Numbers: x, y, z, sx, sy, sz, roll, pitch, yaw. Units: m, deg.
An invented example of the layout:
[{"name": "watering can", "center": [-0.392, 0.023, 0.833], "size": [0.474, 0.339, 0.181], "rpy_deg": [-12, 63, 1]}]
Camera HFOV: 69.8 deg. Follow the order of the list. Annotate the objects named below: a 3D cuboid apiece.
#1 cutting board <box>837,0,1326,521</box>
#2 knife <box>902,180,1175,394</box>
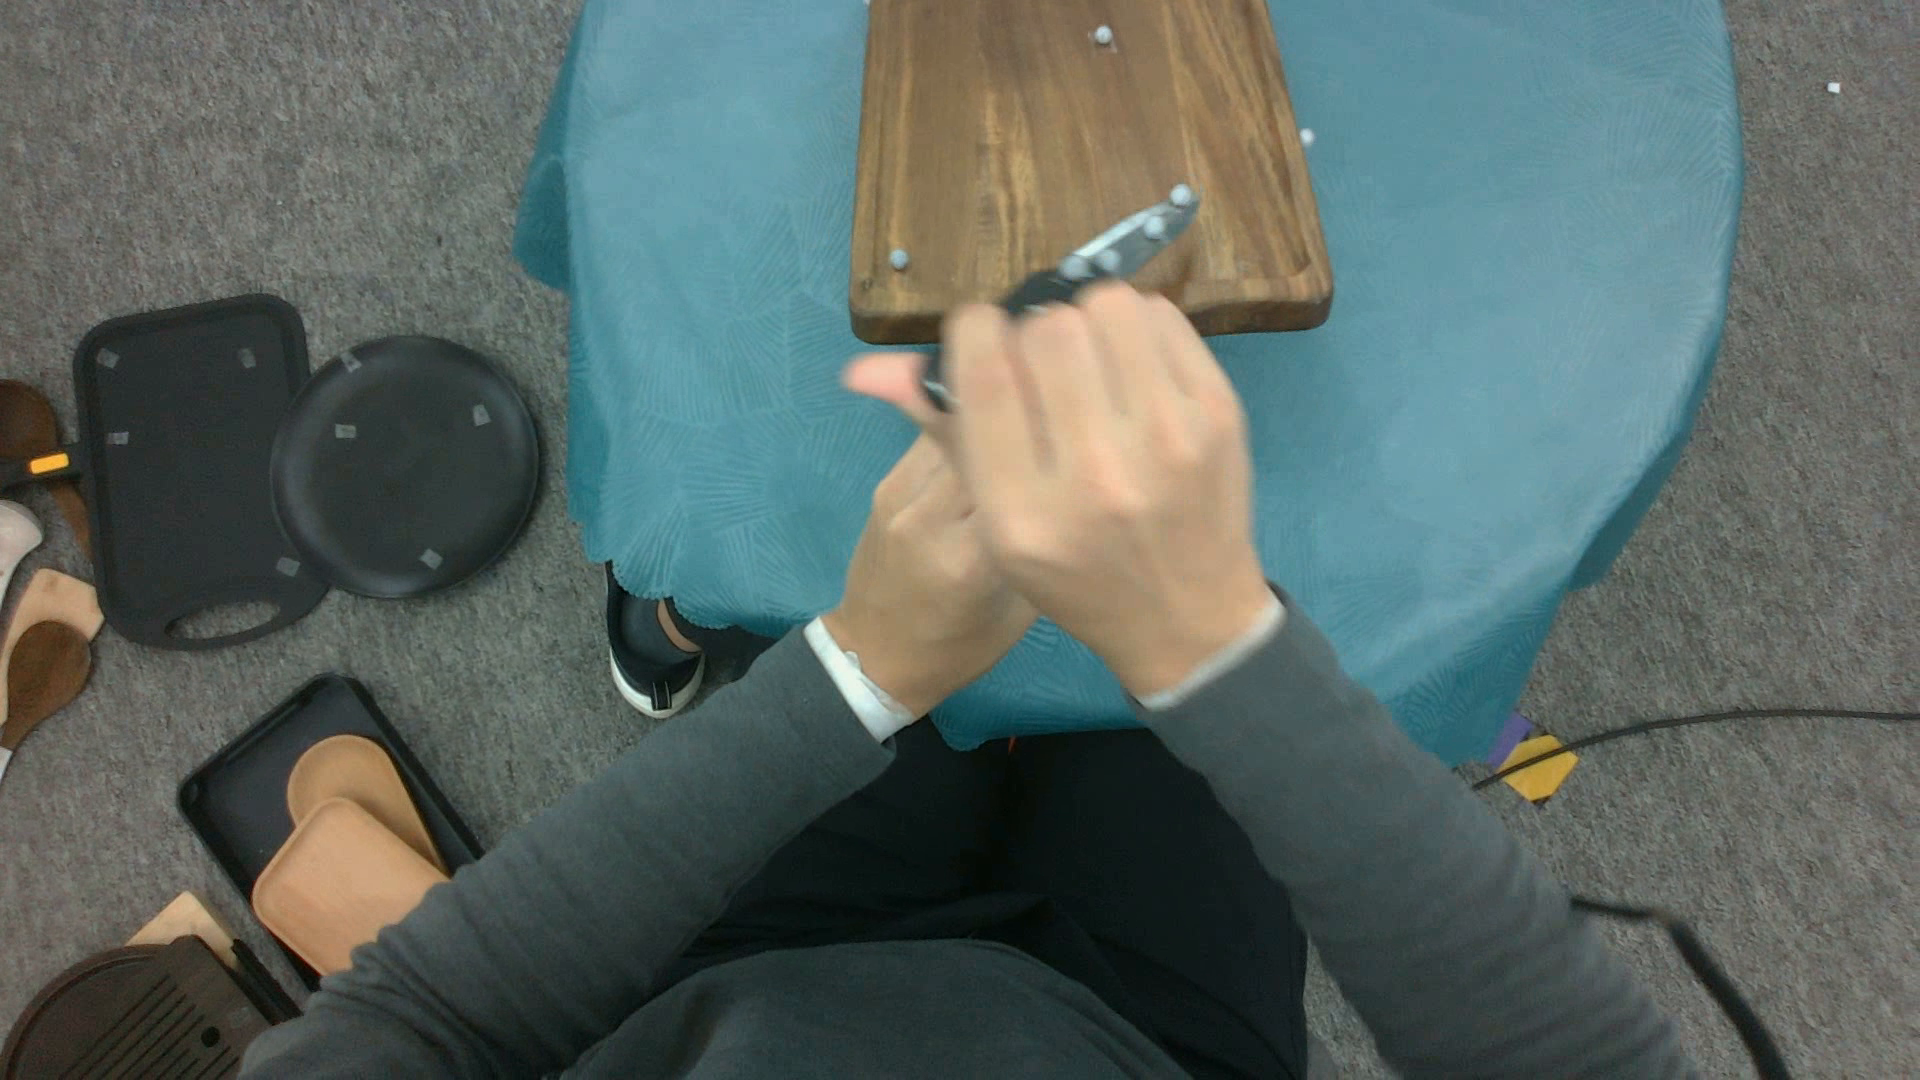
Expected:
[{"name": "cutting board", "center": [0.046, -0.150, 0.600], "size": [0.201, 0.023, 0.354], "rpy_deg": [-2, 52, 1]}, {"name": "knife", "center": [0.041, -0.096, 0.473], "size": [0.024, 0.239, 0.016], "rpy_deg": [32, 125, 8]}]
